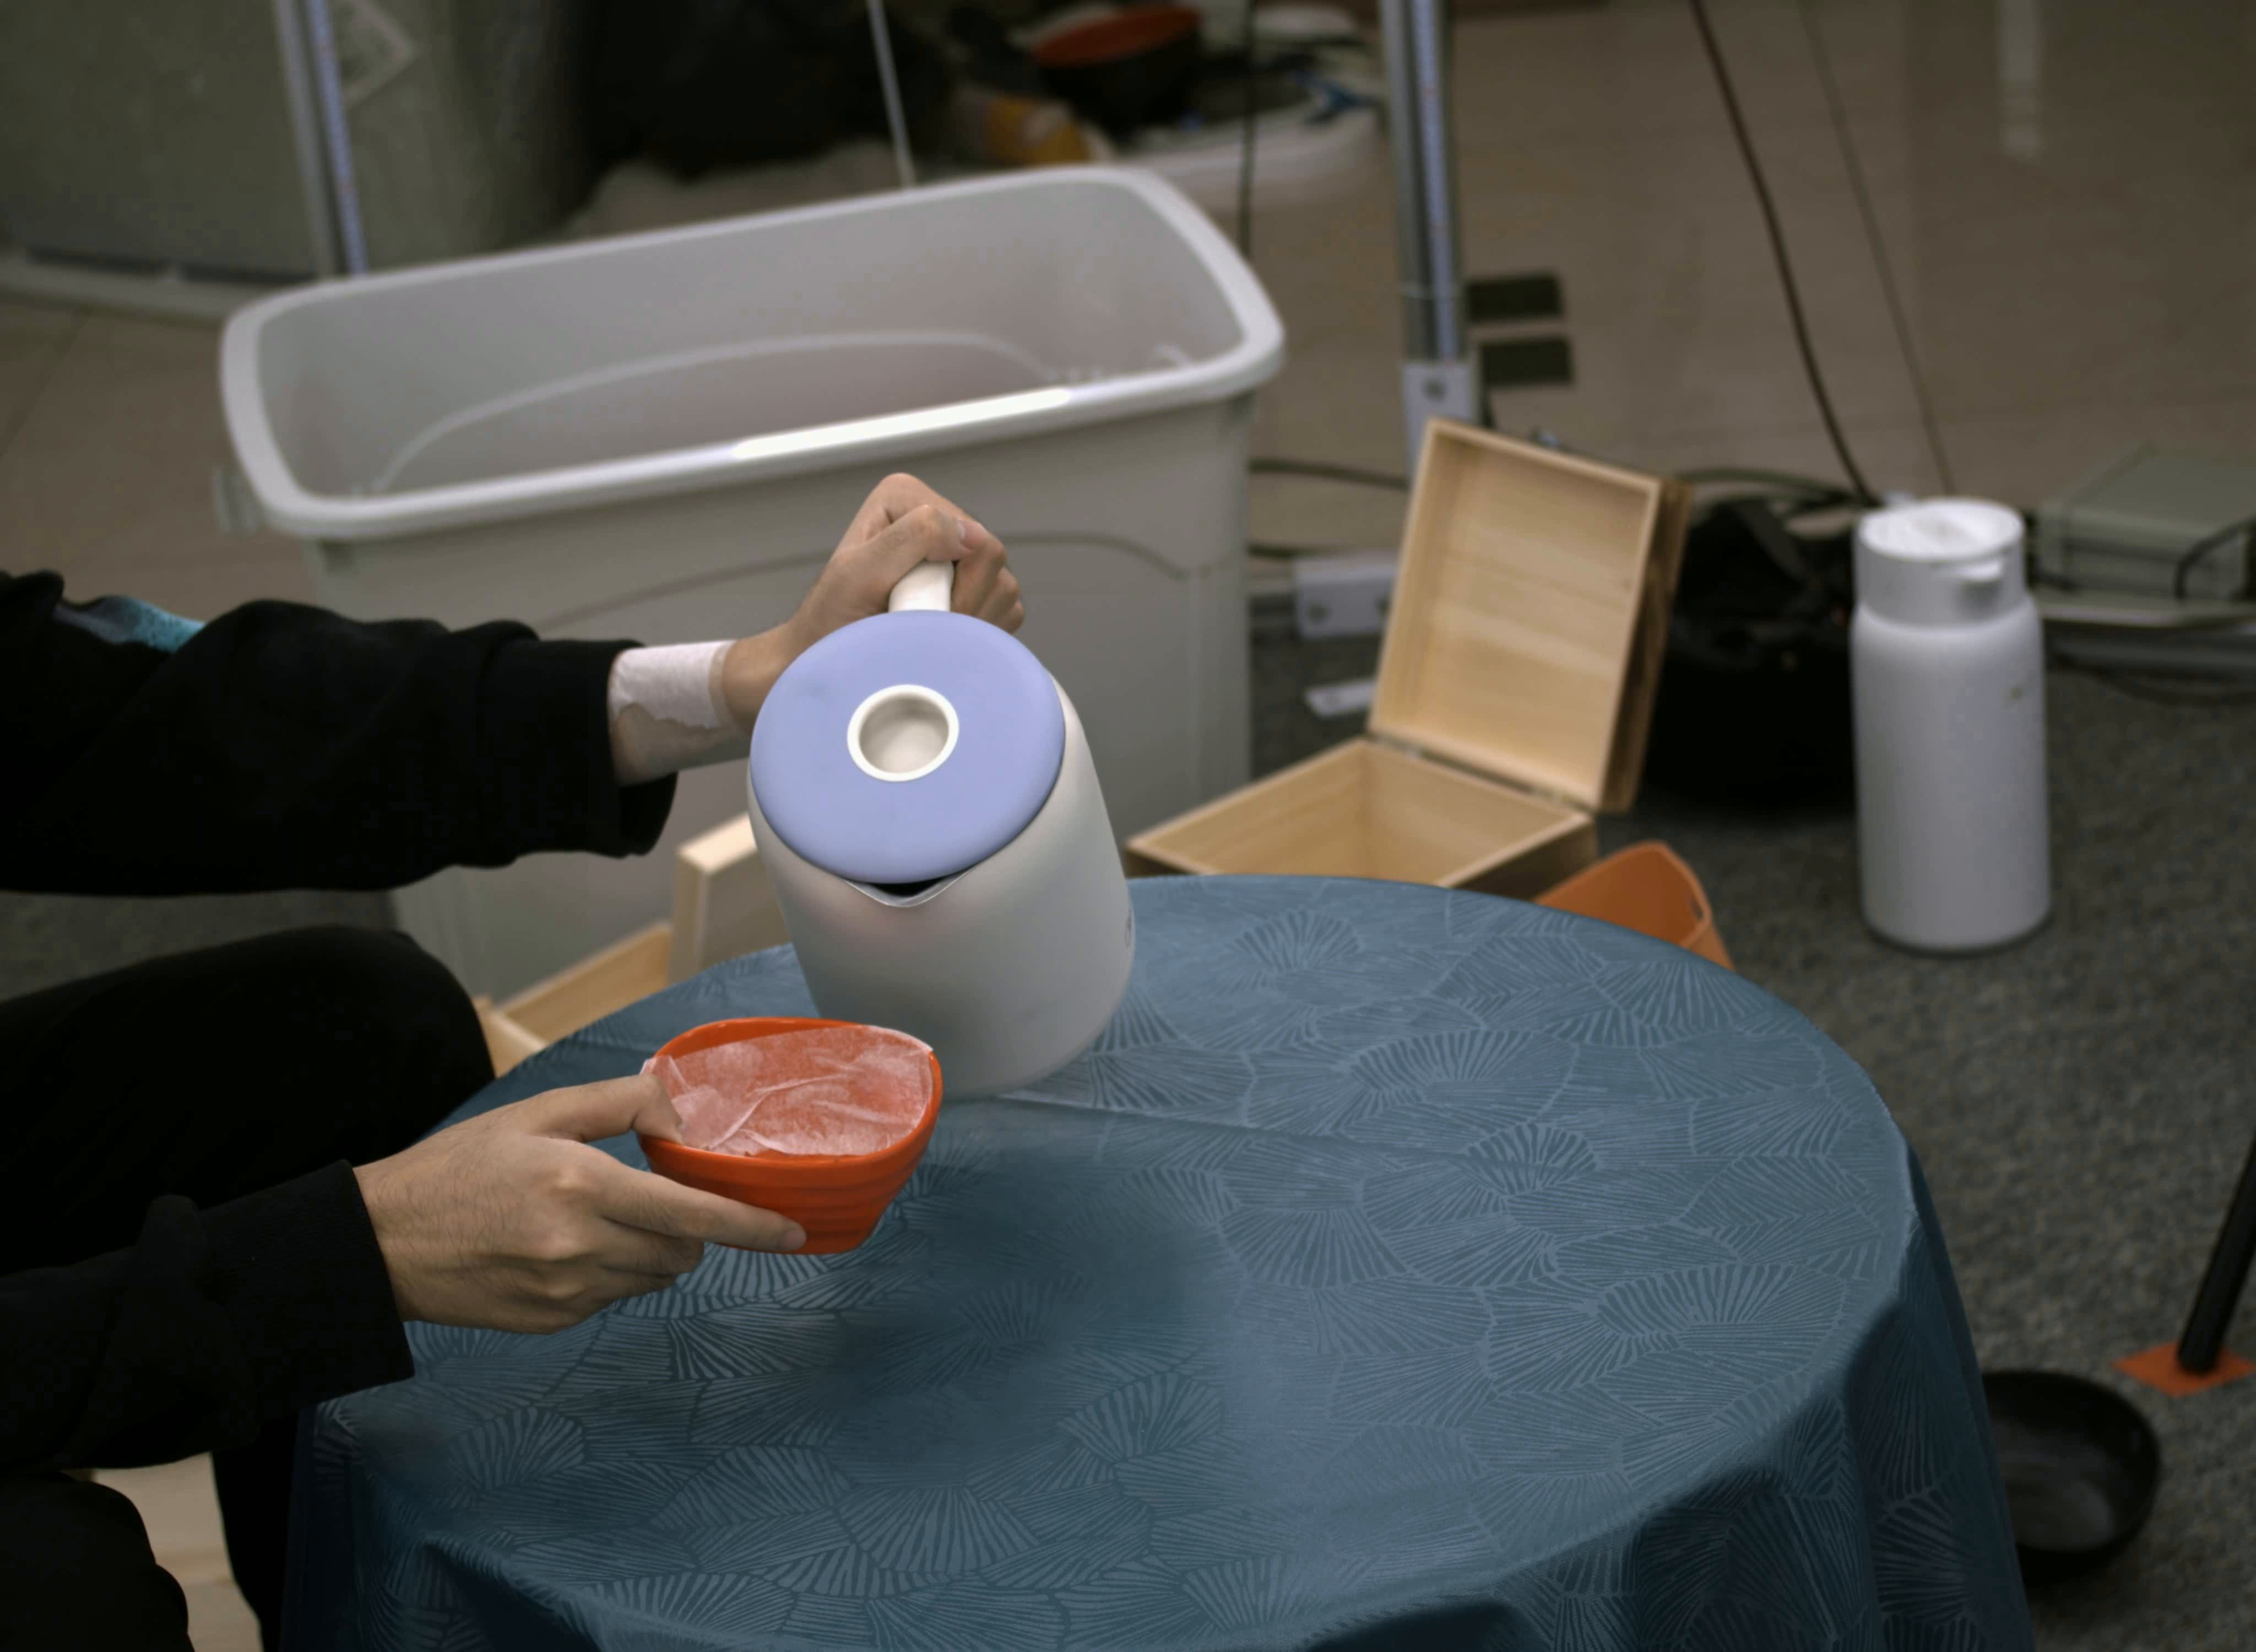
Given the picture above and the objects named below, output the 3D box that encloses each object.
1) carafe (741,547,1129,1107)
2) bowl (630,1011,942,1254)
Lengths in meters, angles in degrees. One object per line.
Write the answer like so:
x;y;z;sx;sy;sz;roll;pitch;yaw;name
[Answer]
-0.074;-0.008;2.170;0.132;0.186;0.188;-6;57;4;carafe
-0.123;0.115;2.039;0.119;0.052;0.117;2;28;-1;bowl
